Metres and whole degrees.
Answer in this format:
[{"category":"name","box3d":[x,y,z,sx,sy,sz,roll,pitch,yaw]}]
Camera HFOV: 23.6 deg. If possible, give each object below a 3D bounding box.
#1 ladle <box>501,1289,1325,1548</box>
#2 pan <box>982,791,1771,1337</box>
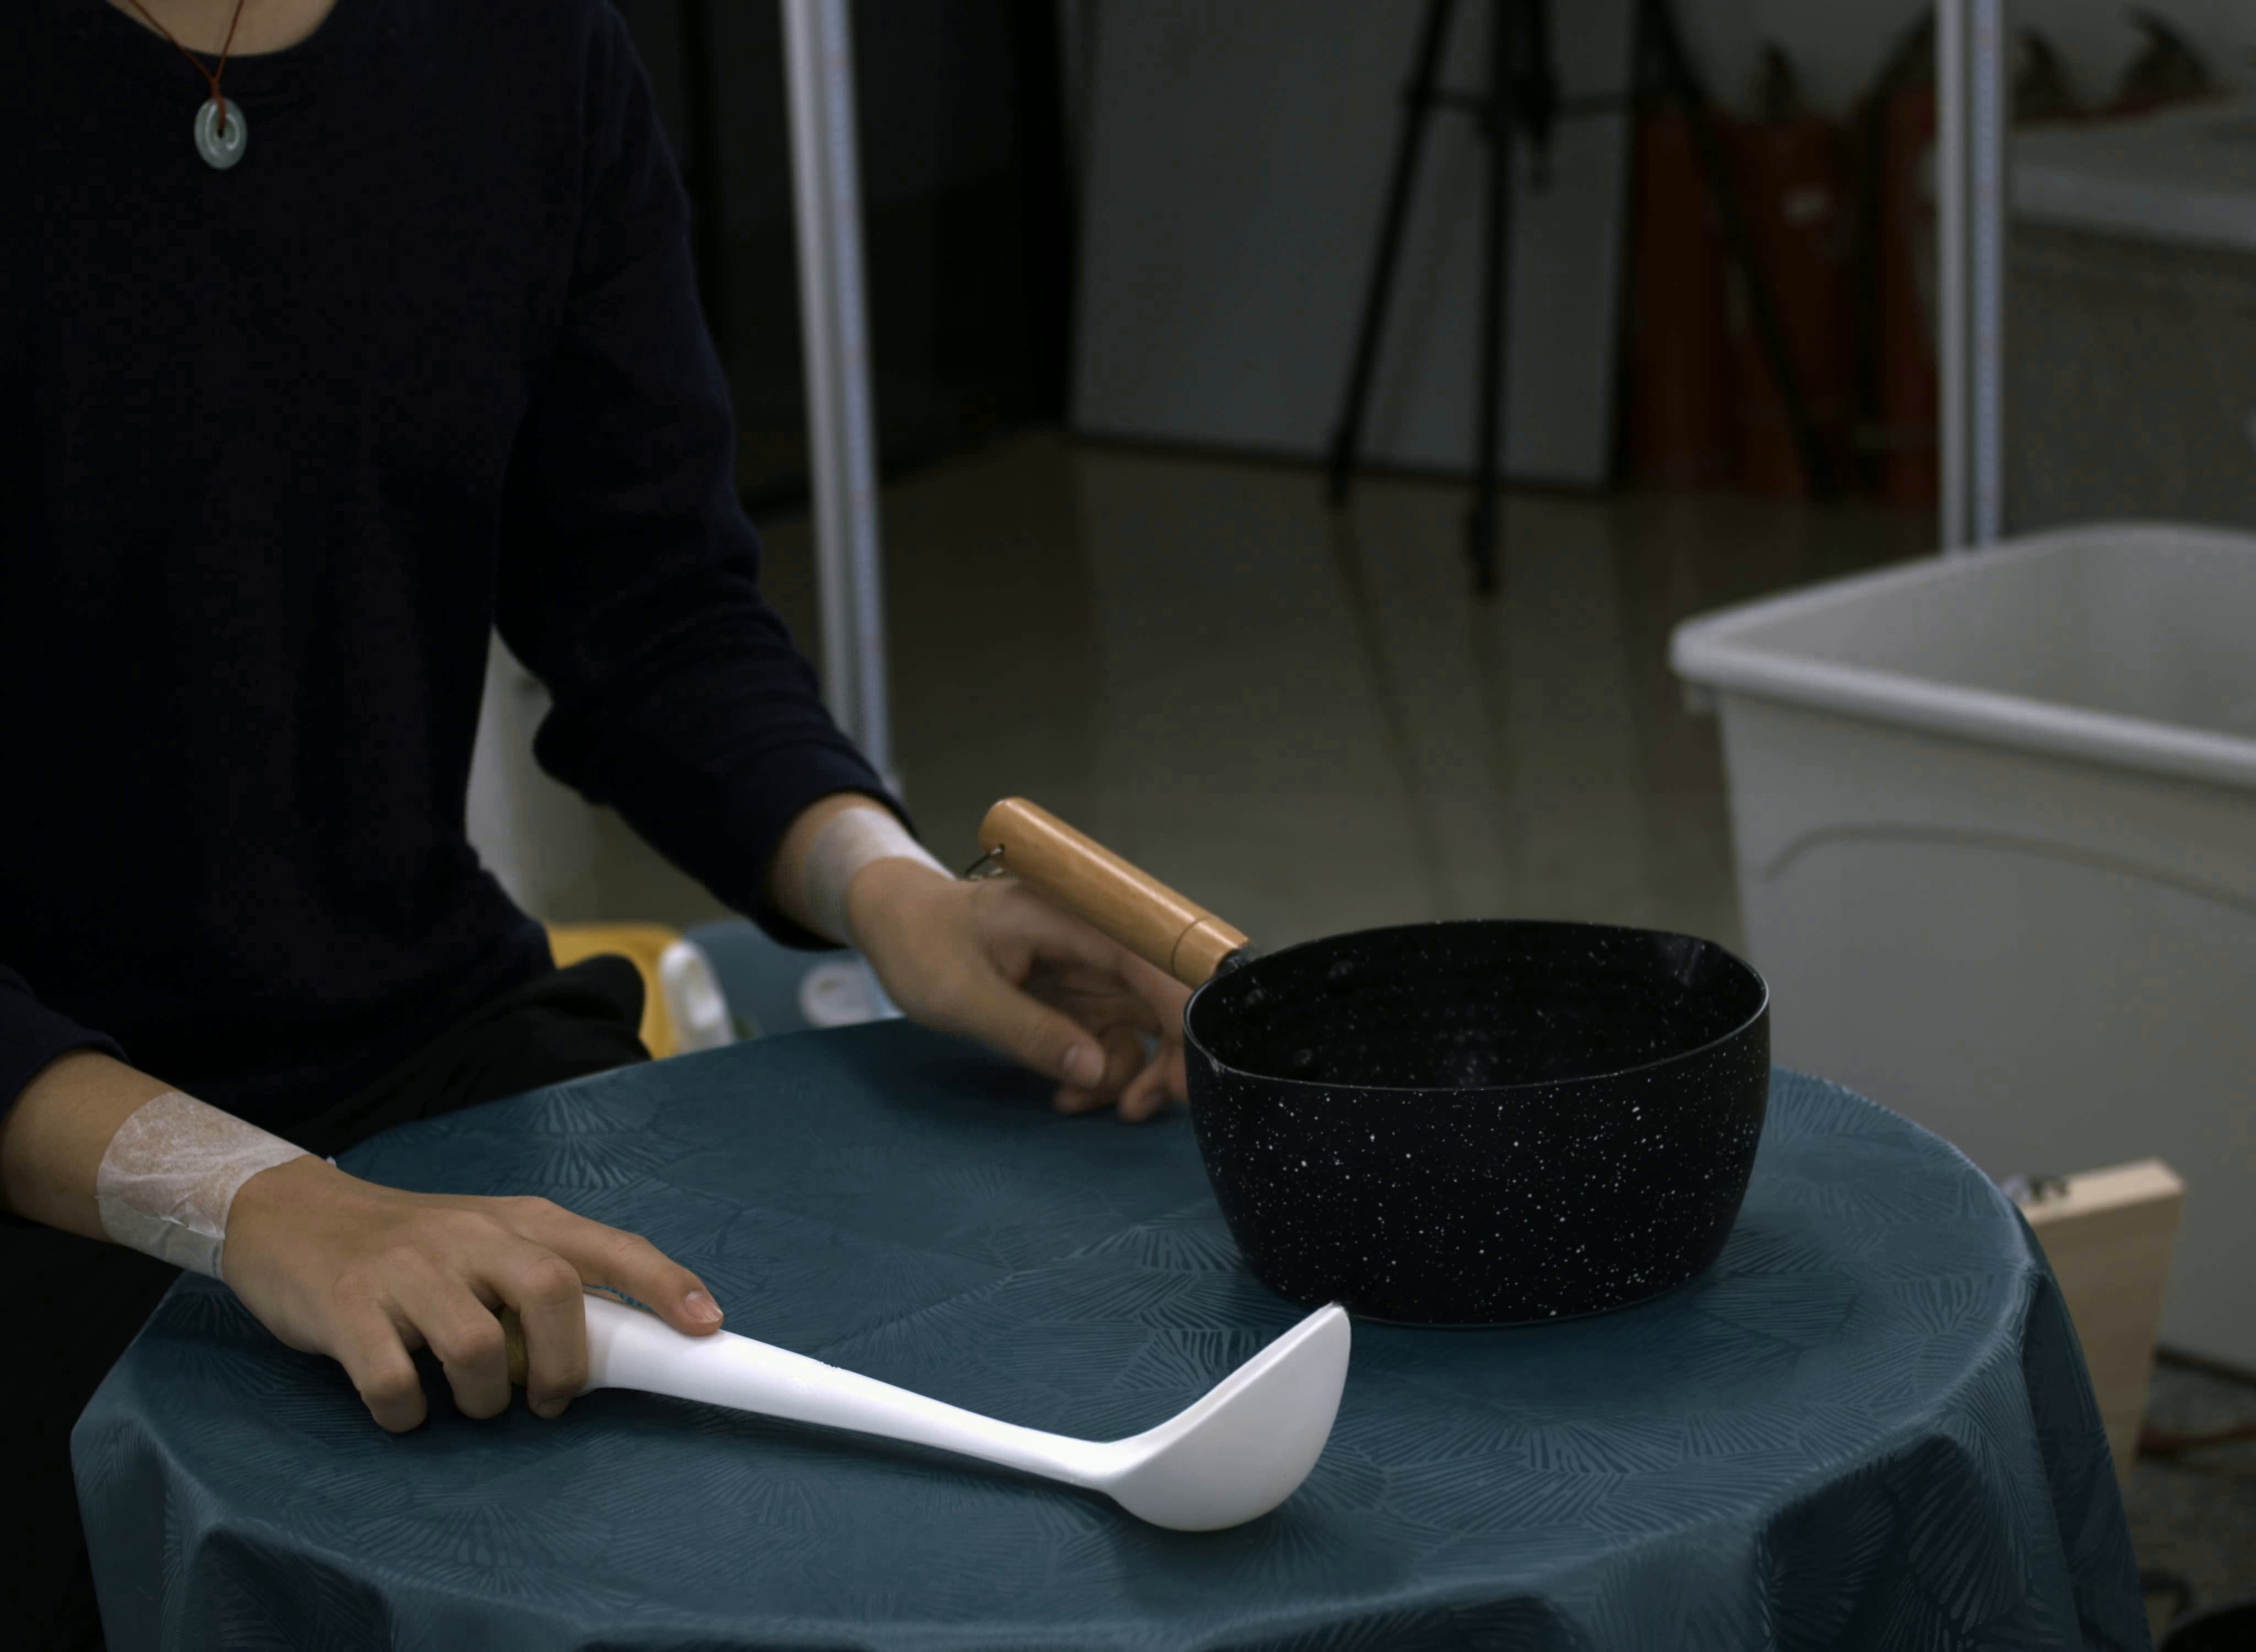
[{"category":"ladle","box3d":[-0.068,0.155,1.528,0.295,0.070,0.089,6,33,38]},{"category":"pan","box3d":[0.060,0.070,1.736,0.203,0.109,0.346,-15,19,-35]}]
